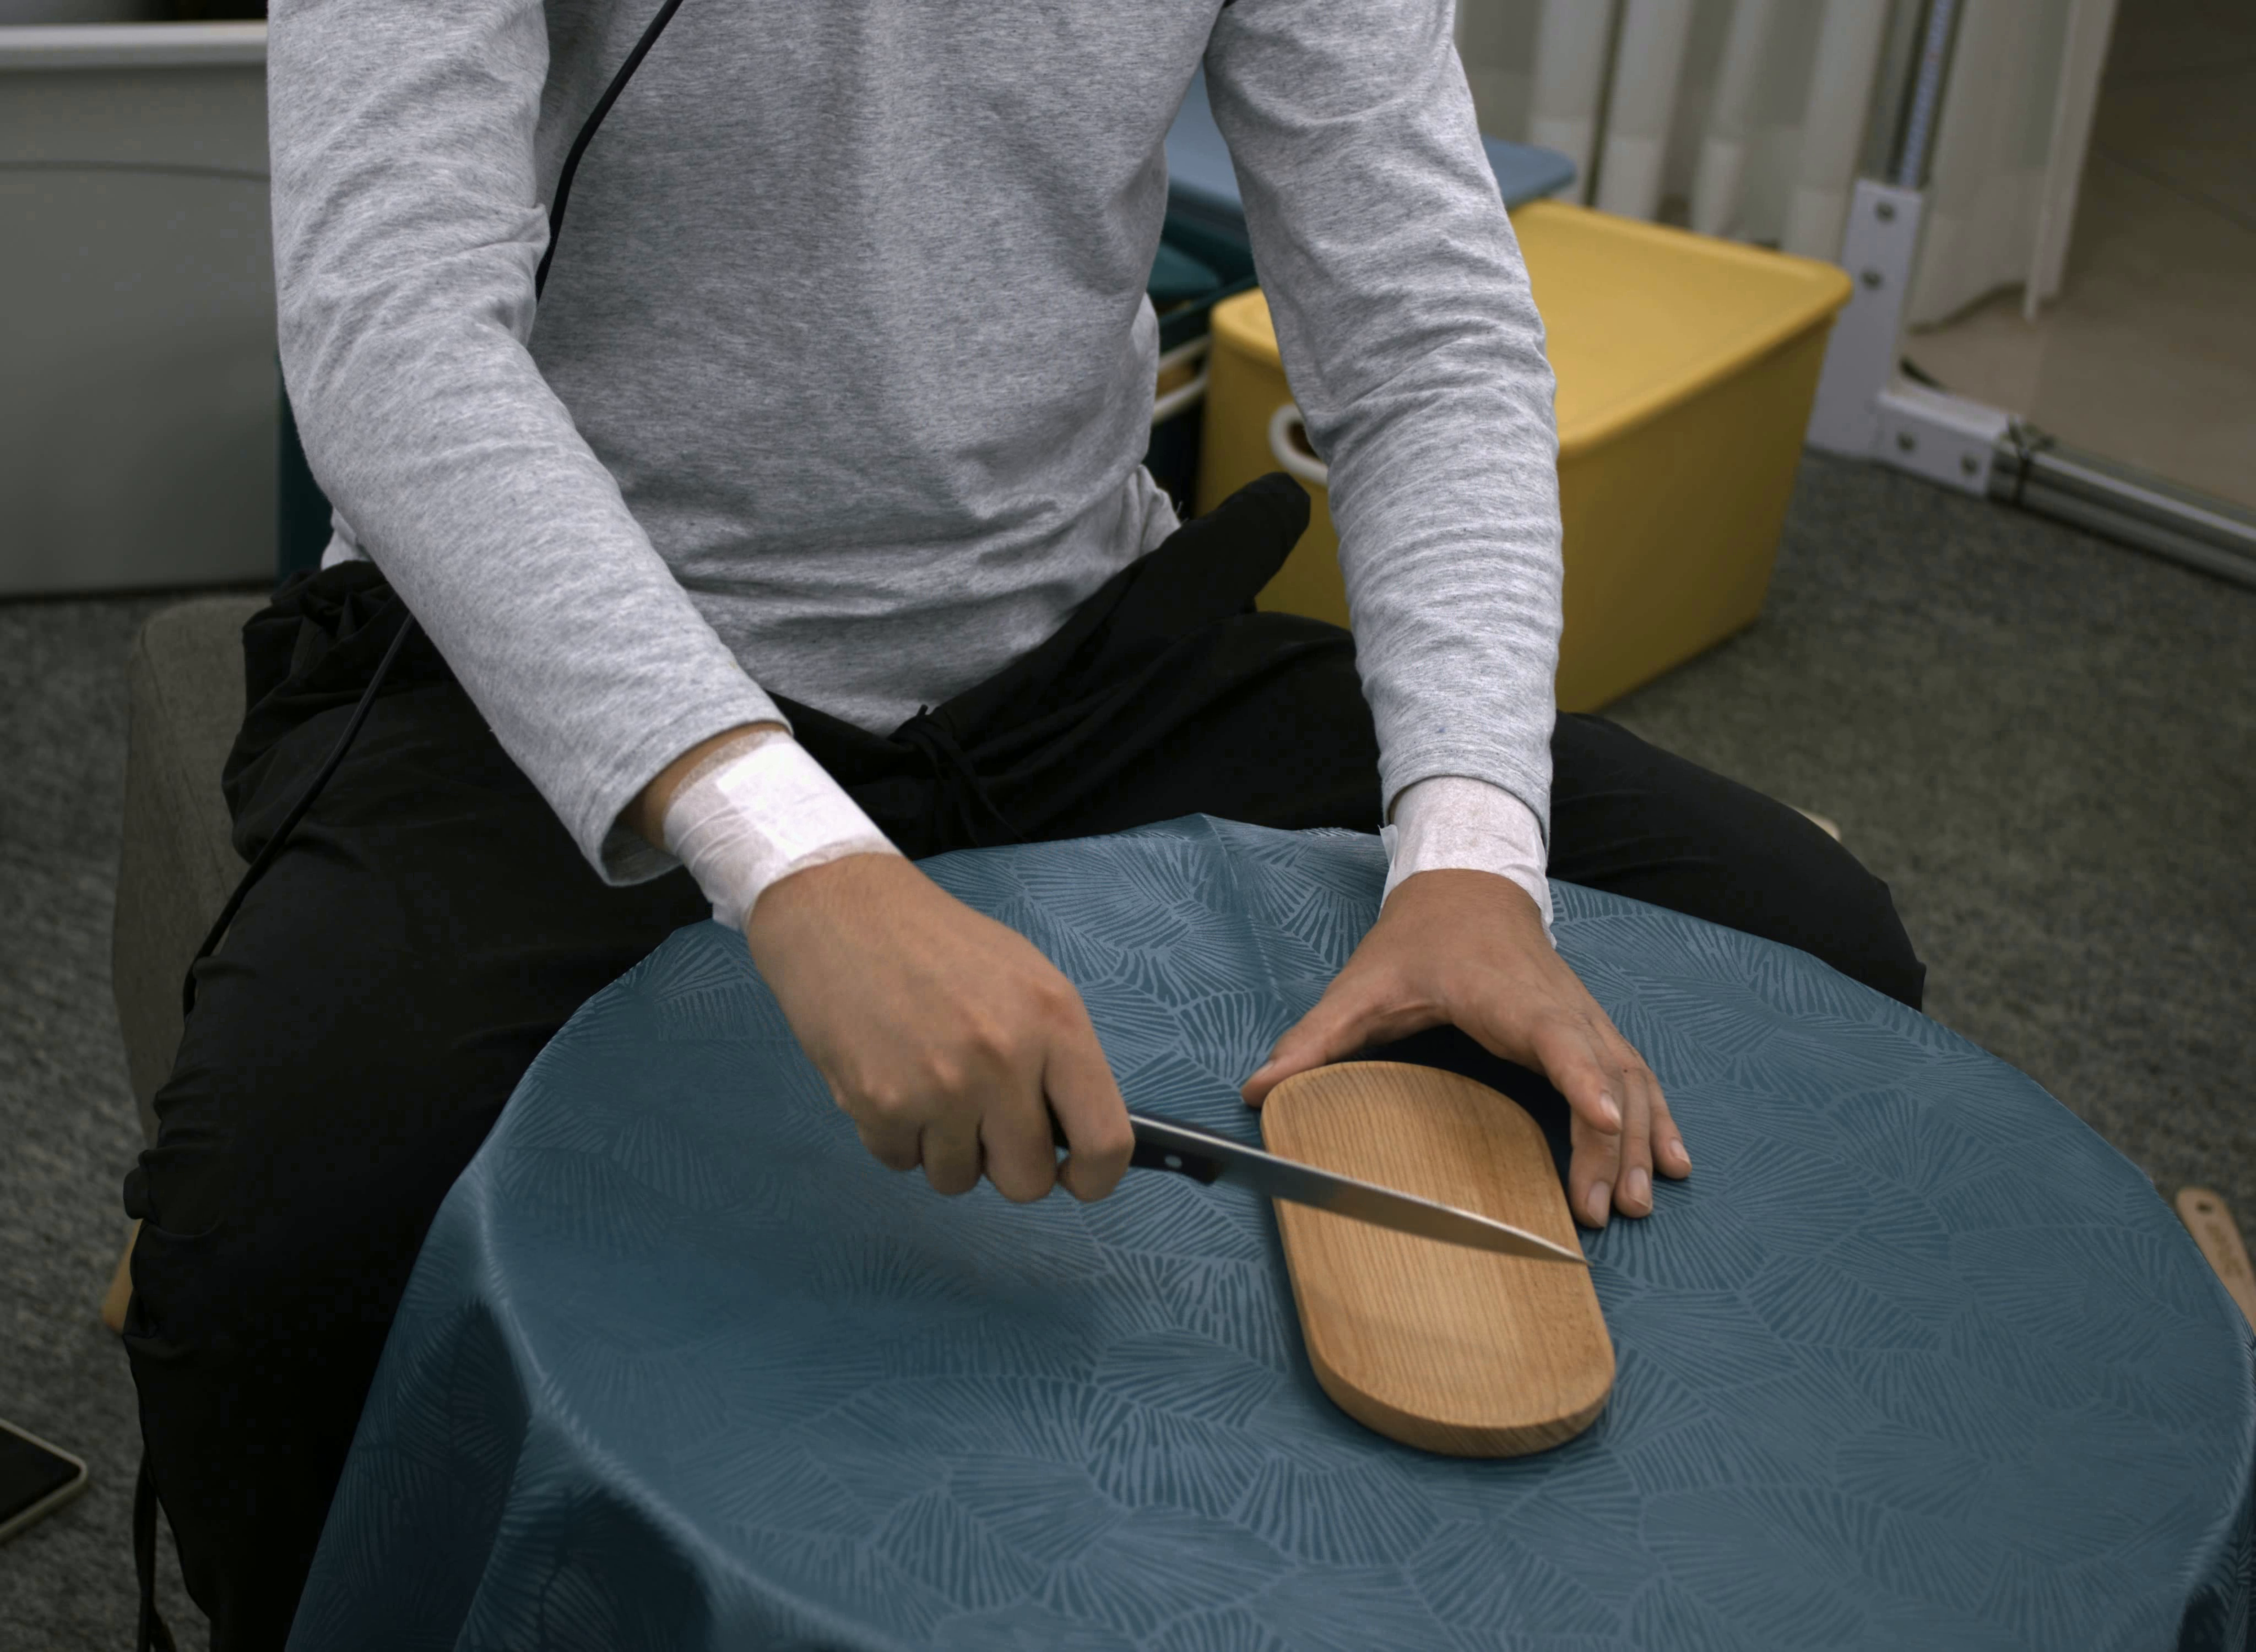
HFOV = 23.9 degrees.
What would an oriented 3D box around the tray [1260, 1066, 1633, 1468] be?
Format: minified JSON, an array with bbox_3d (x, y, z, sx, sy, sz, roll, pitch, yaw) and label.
[{"bbox_3d":[0.103,0.144,1.772,0.101,0.020,0.233,0,29,-8],"label":"tray"}]

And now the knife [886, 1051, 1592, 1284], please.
[{"bbox_3d":[0.036,0.112,1.724,0.238,0.024,0.016,16,43,5],"label":"knife"}]
